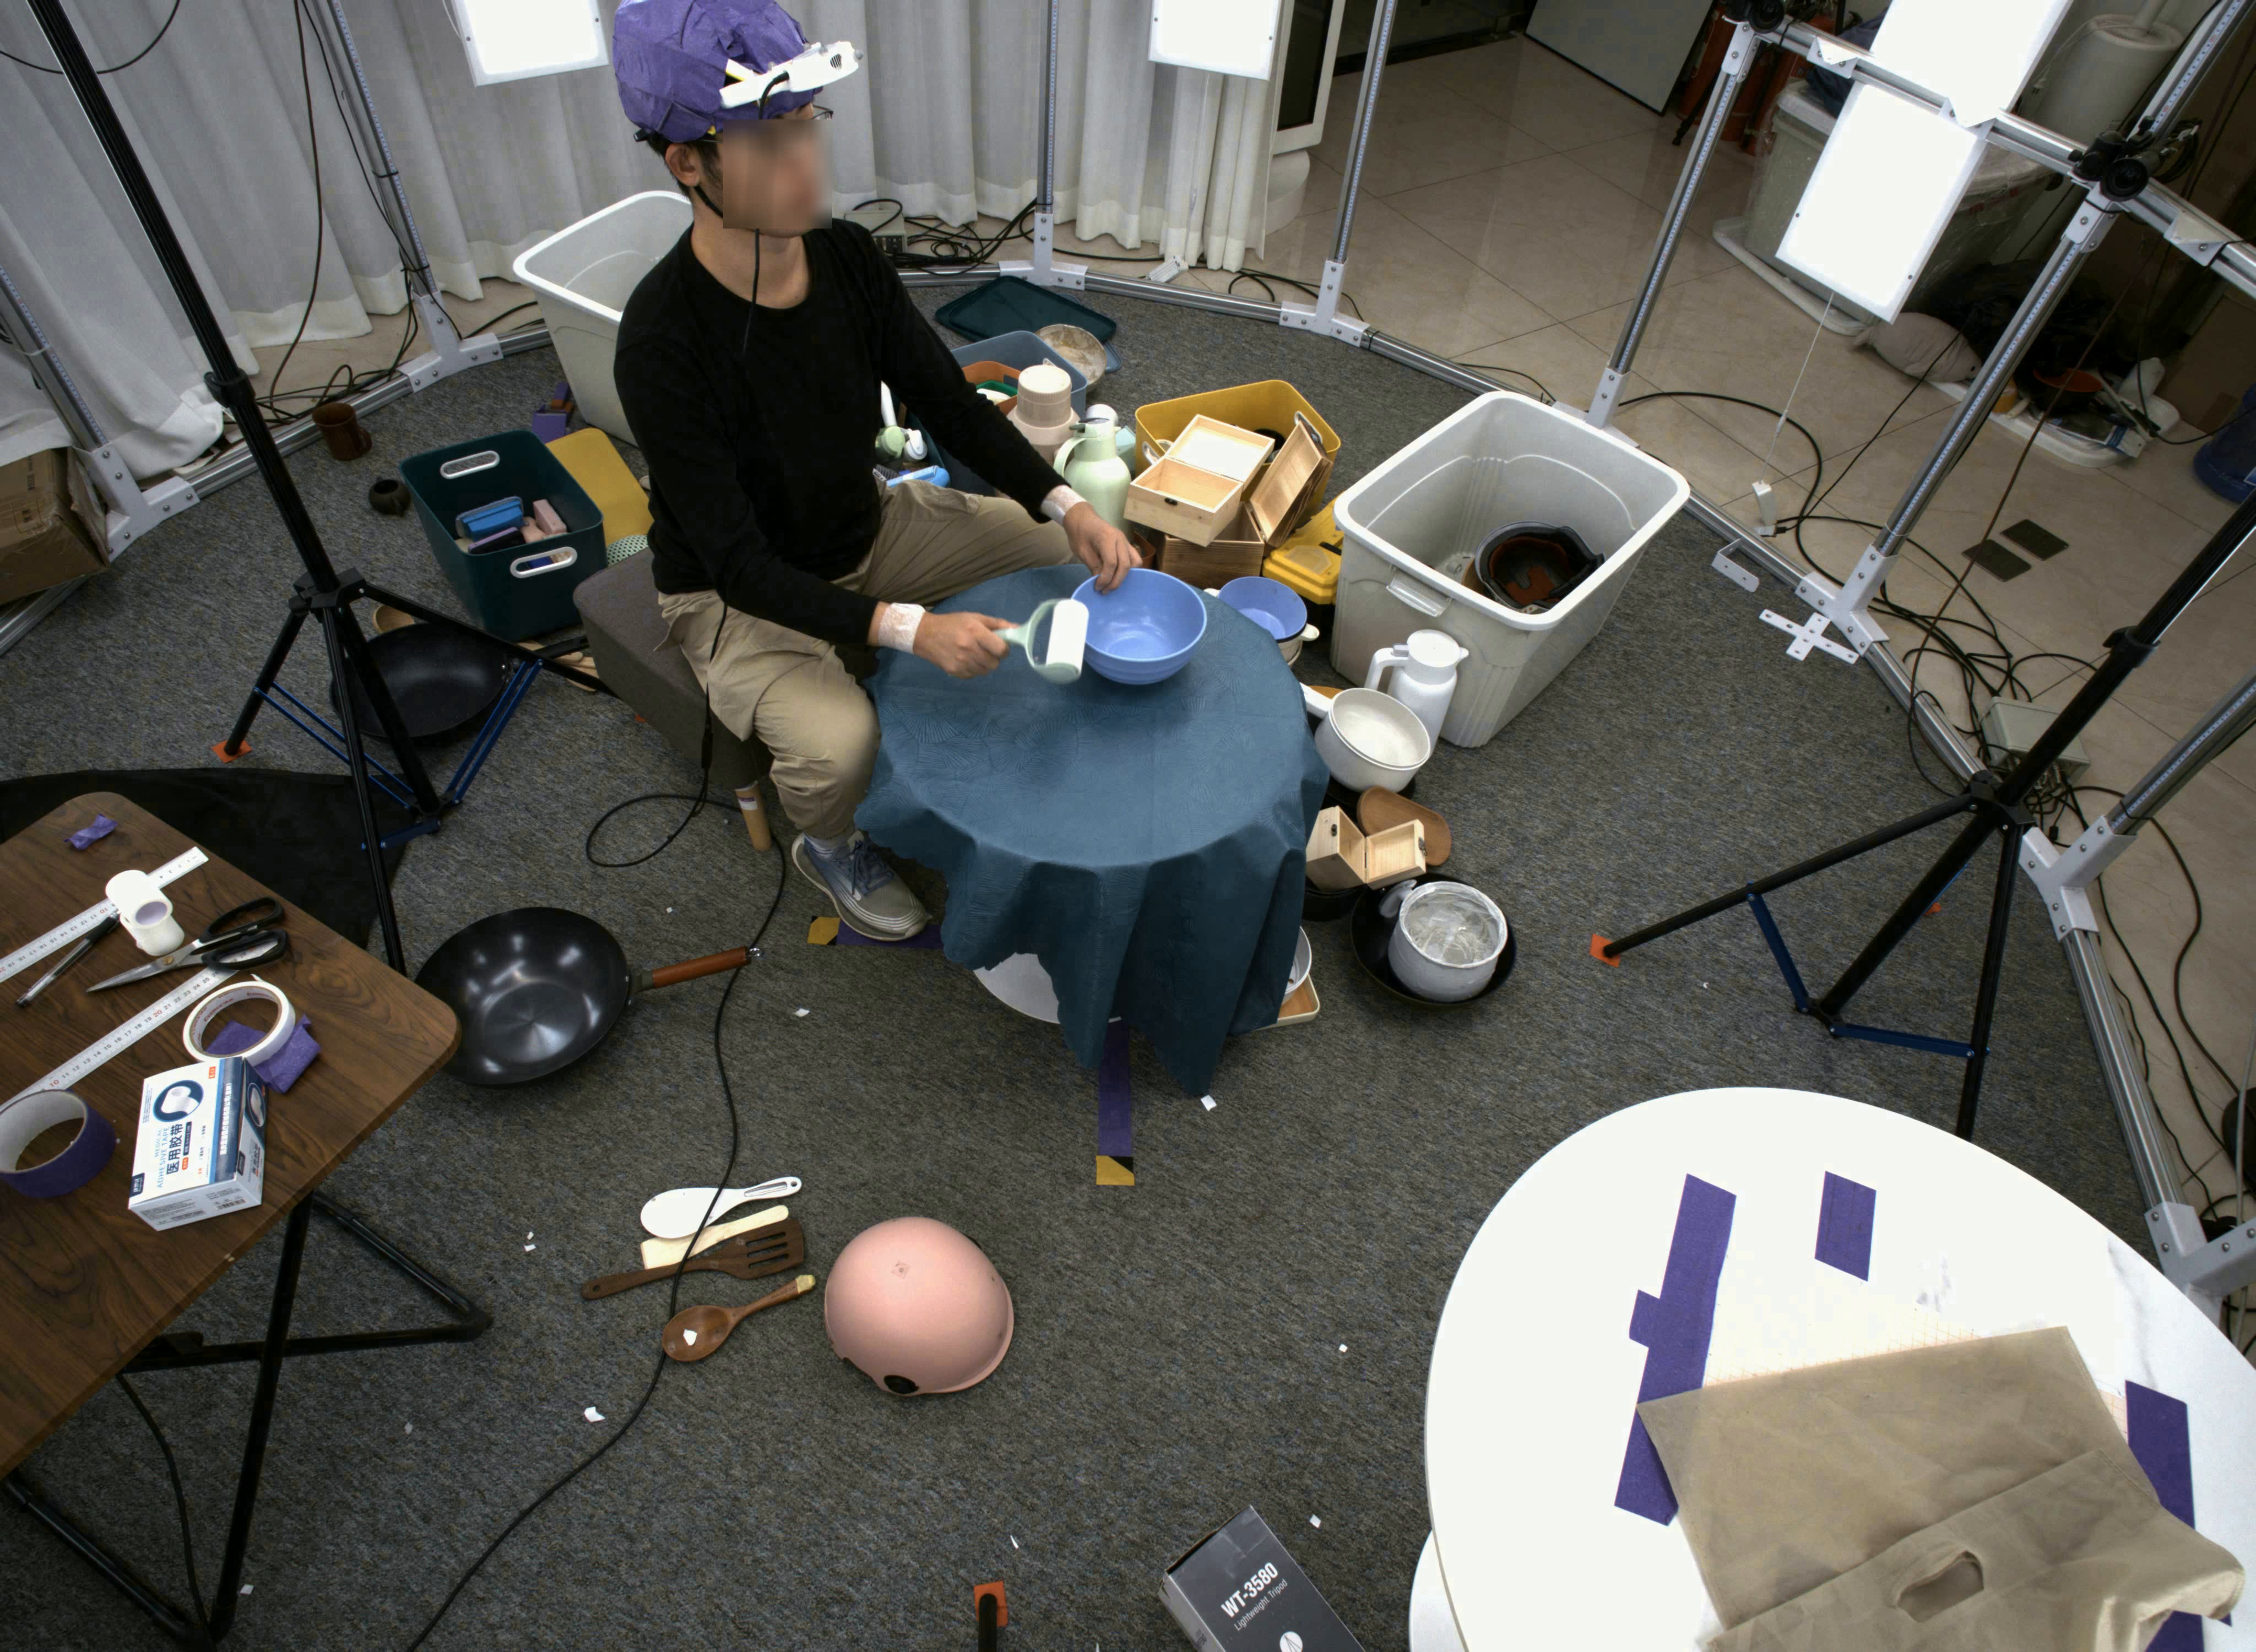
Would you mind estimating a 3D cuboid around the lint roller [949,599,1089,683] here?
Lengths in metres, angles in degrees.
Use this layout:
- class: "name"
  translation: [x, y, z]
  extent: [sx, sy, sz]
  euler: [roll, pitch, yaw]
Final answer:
- class: "lint roller"
  translation: [-0.151, -0.246, 1.729]
  extent: [0.198, 0.047, 0.119]
  euler: [-1, 59, 14]

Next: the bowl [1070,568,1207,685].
- class: "bowl"
  translation: [0.012, -0.271, 1.844]
  extent: [0.196, 0.093, 0.201]
  euler: [2, 50, -2]
